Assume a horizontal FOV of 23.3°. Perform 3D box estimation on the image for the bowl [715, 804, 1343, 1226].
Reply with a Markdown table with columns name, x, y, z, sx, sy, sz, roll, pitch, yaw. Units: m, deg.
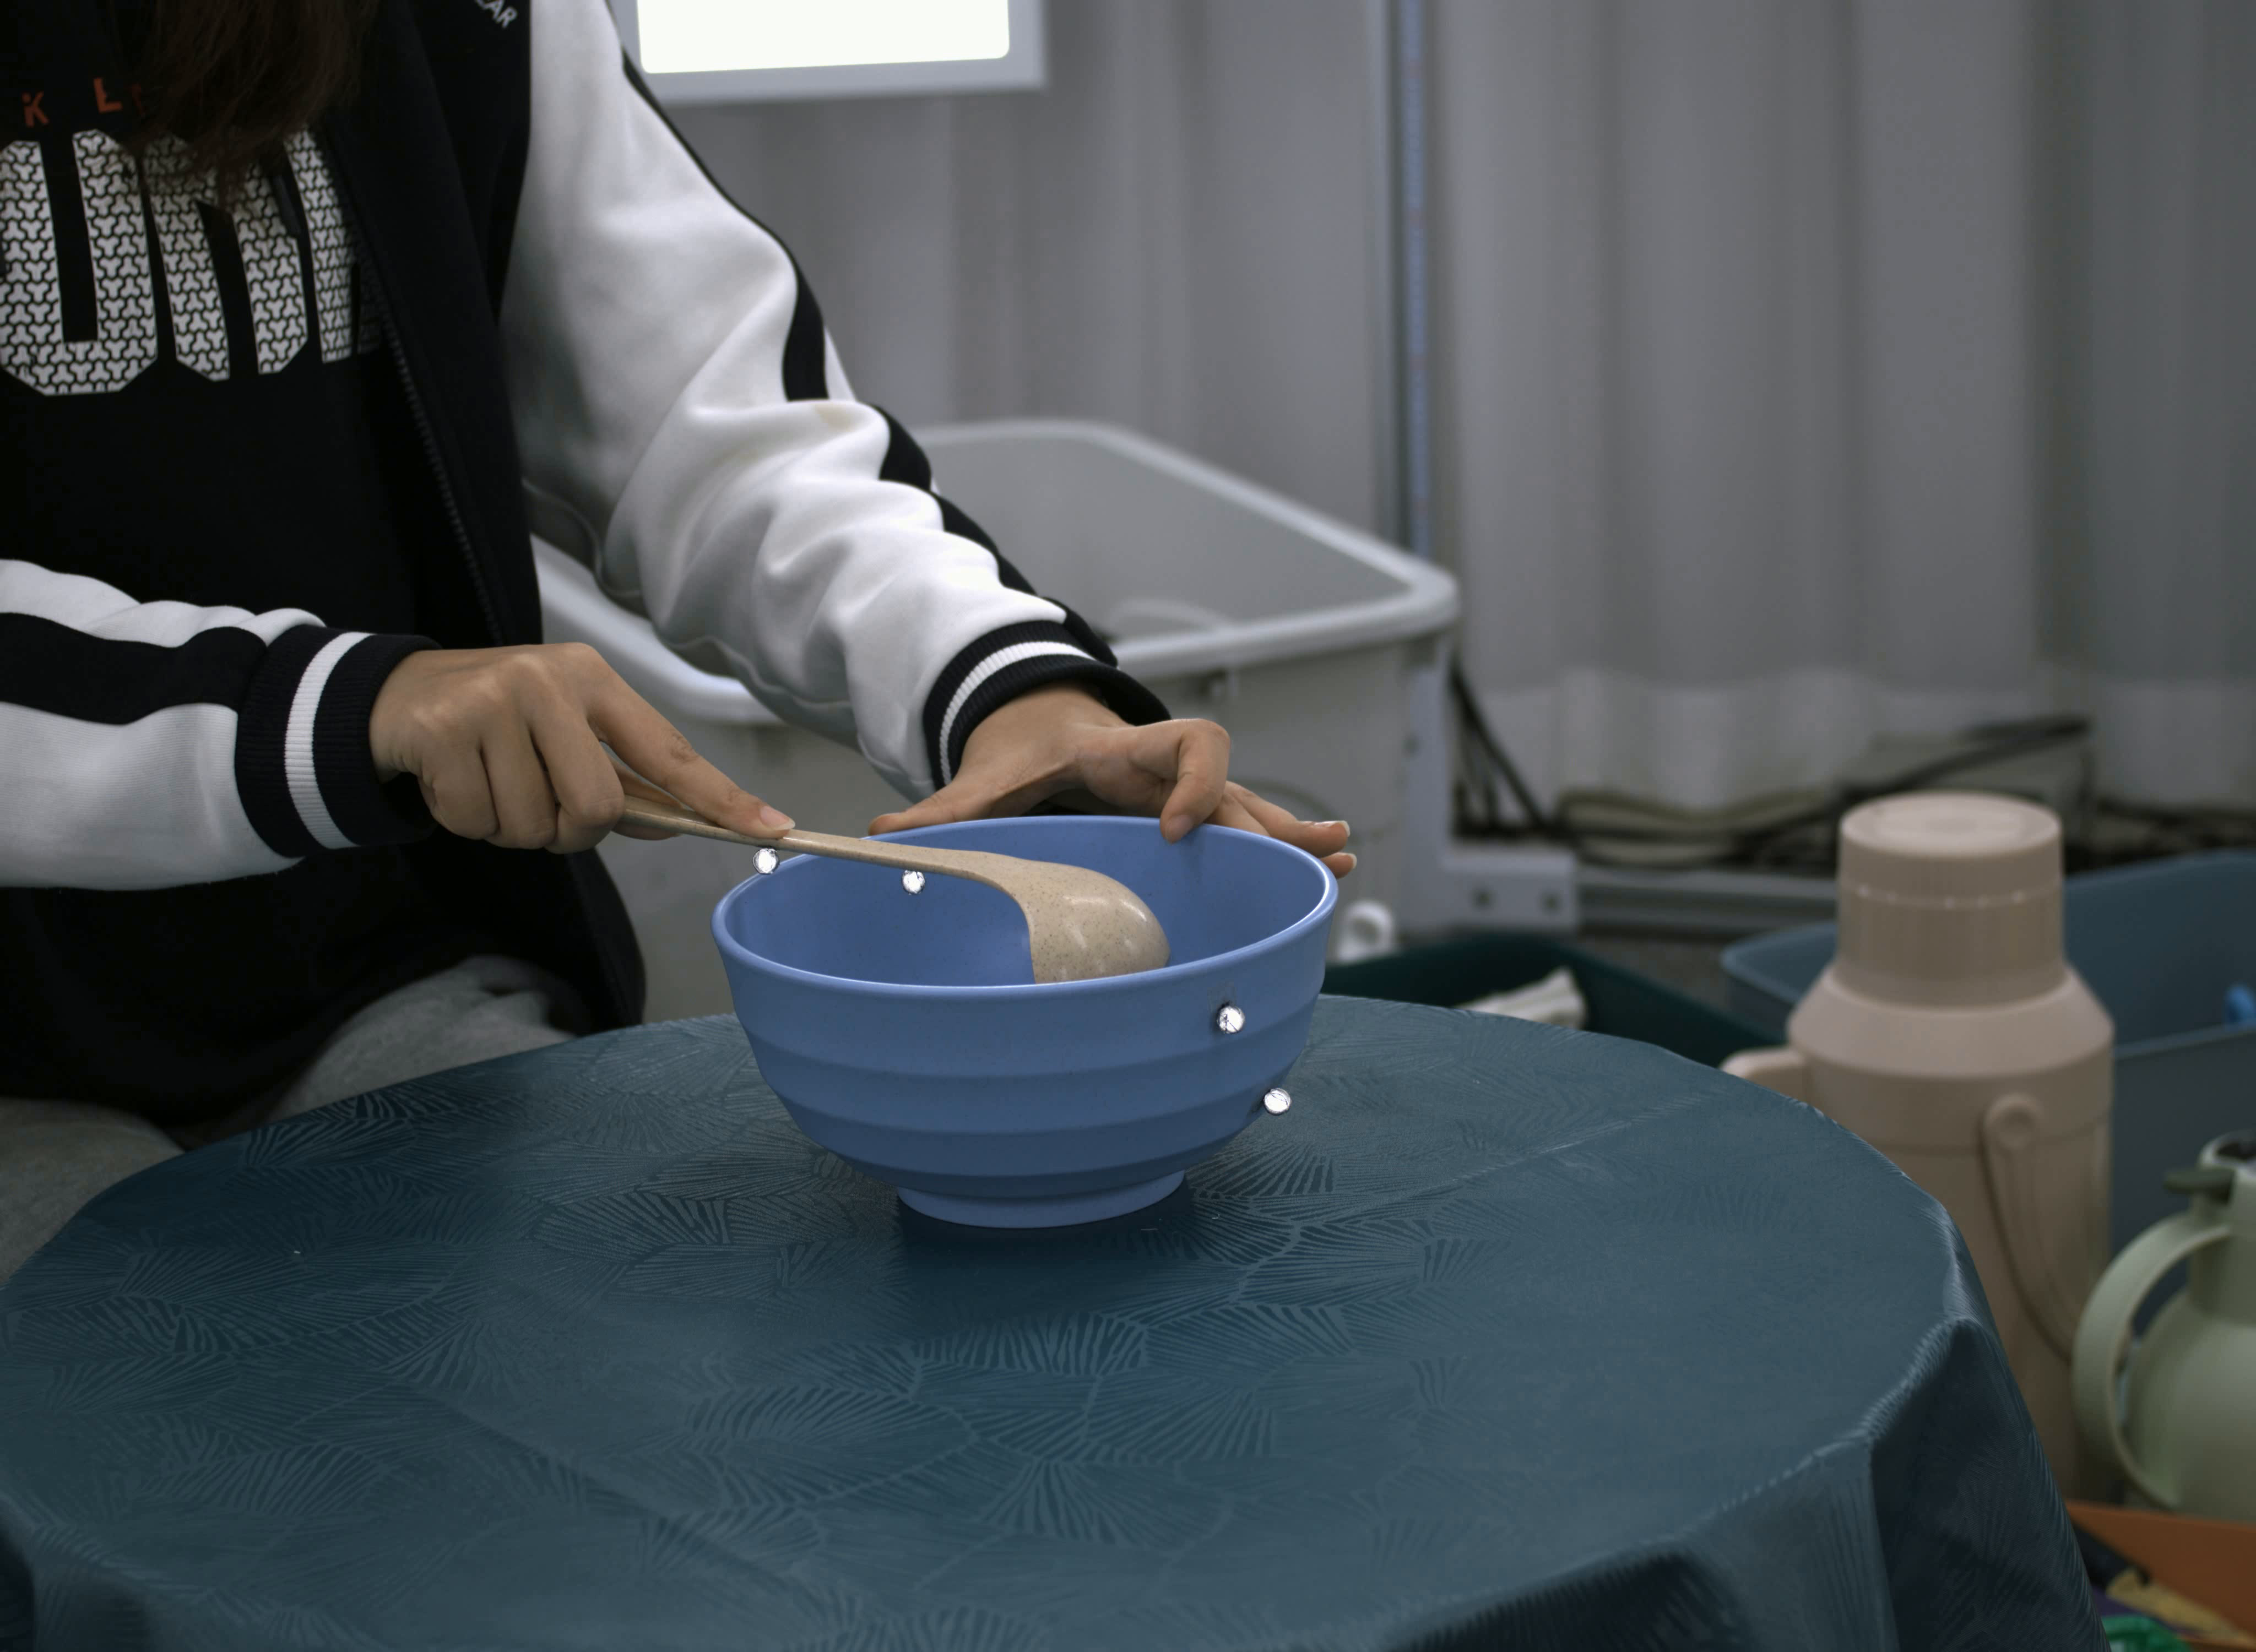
| name | x | y | z | sx | sy | sz | roll | pitch | yaw |
| --- | --- | --- | --- | --- | --- | --- | --- | --- | --- |
| bowl | -0.031 | 0.066 | 1.717 | 0.196 | 0.095 | 0.198 | 0 | 16 | 0 |

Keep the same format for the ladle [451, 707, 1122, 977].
| name | x | y | z | sx | sy | sz | roll | pitch | yaw |
| --- | --- | --- | --- | --- | --- | --- | --- | --- | --- |
| ladle | -0.122 | 0.026 | 1.731 | 0.255 | 0.071 | 0.073 | 17 | 65 | 22 |
